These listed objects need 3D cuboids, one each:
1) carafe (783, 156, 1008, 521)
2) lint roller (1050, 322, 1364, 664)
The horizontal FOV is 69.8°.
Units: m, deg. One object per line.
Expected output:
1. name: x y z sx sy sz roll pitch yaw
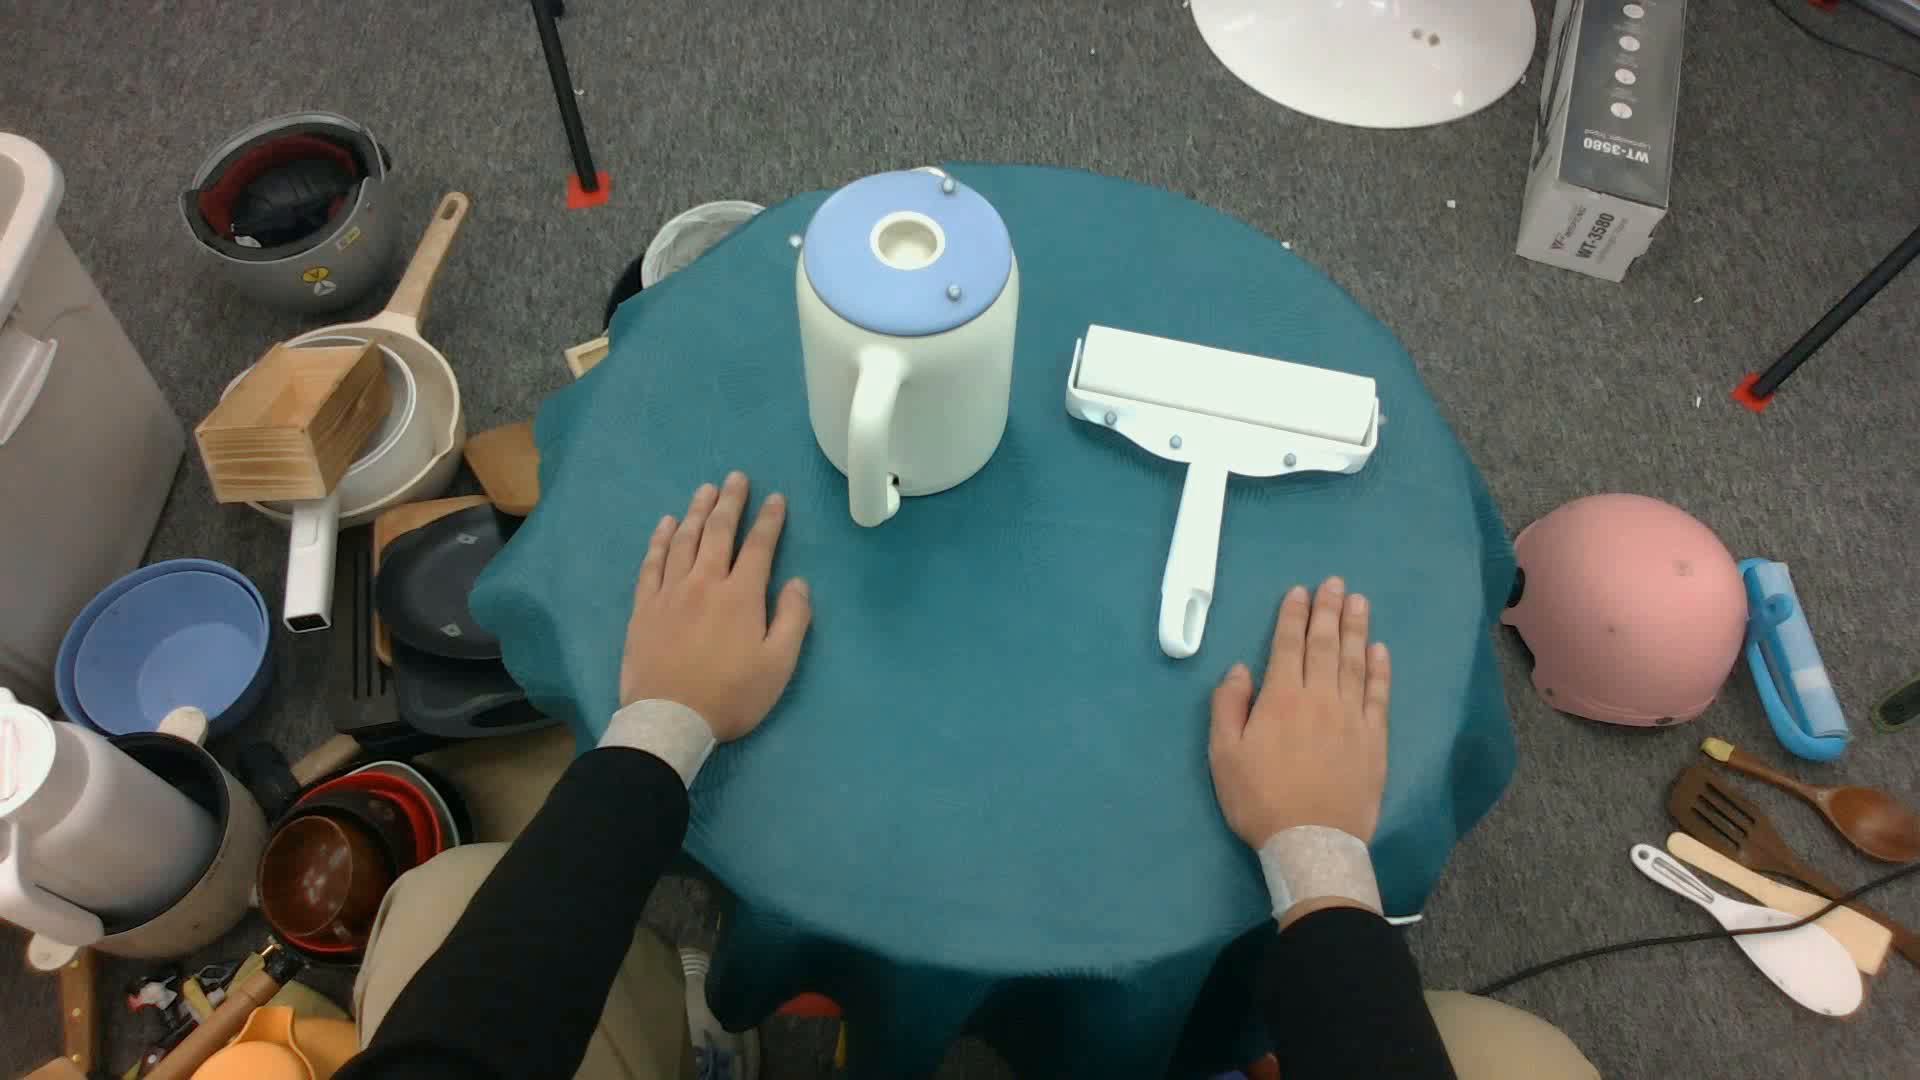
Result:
1. carafe: -0.043 -0.107 0.834 0.132 0.182 0.192 9 62 3
2. lint roller: 0.147 -0.028 0.872 0.203 0.048 0.226 12 62 3
